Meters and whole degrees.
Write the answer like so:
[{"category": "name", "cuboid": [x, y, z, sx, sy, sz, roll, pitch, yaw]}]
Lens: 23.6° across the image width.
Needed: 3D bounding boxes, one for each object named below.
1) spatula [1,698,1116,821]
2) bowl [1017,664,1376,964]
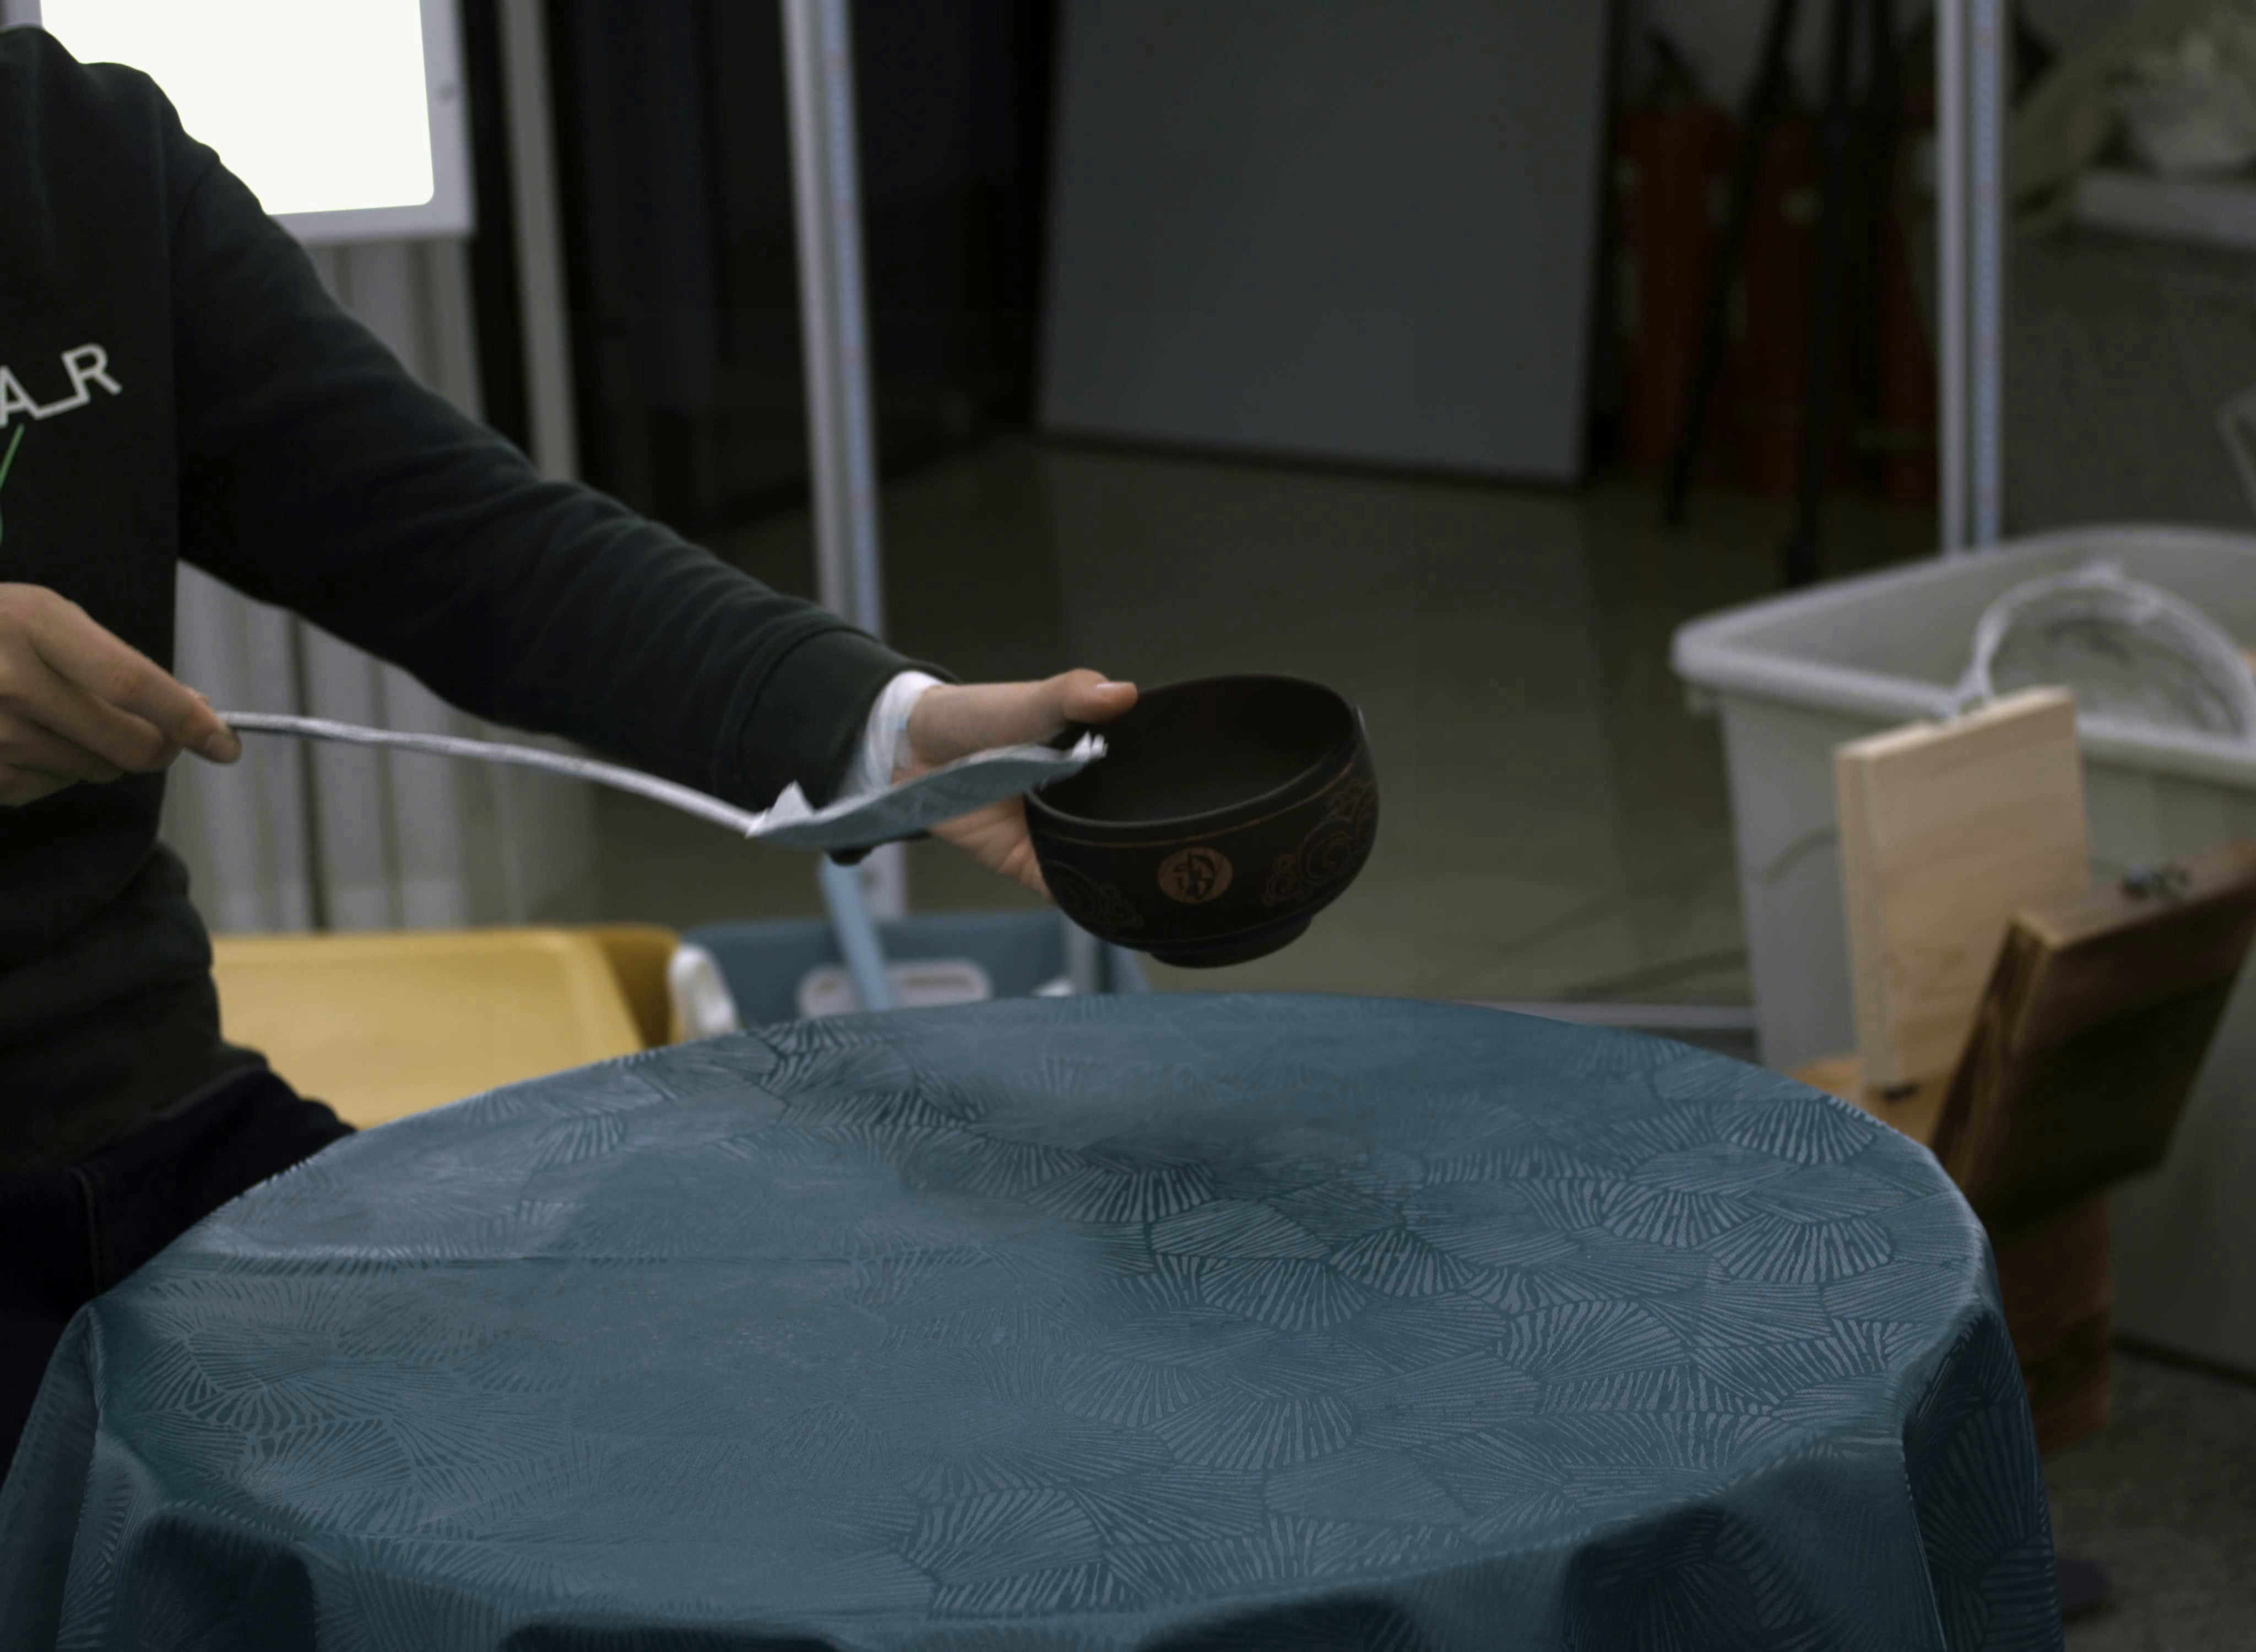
[{"category": "spatula", "cuboid": [-0.181, -0.032, 1.608, 0.364, 0.045, 0.097, 7, 6, 20]}, {"category": "bowl", "cuboid": [0.026, 0.002, 1.771, 0.117, 0.070, 0.118, -12, 22, 4]}]
